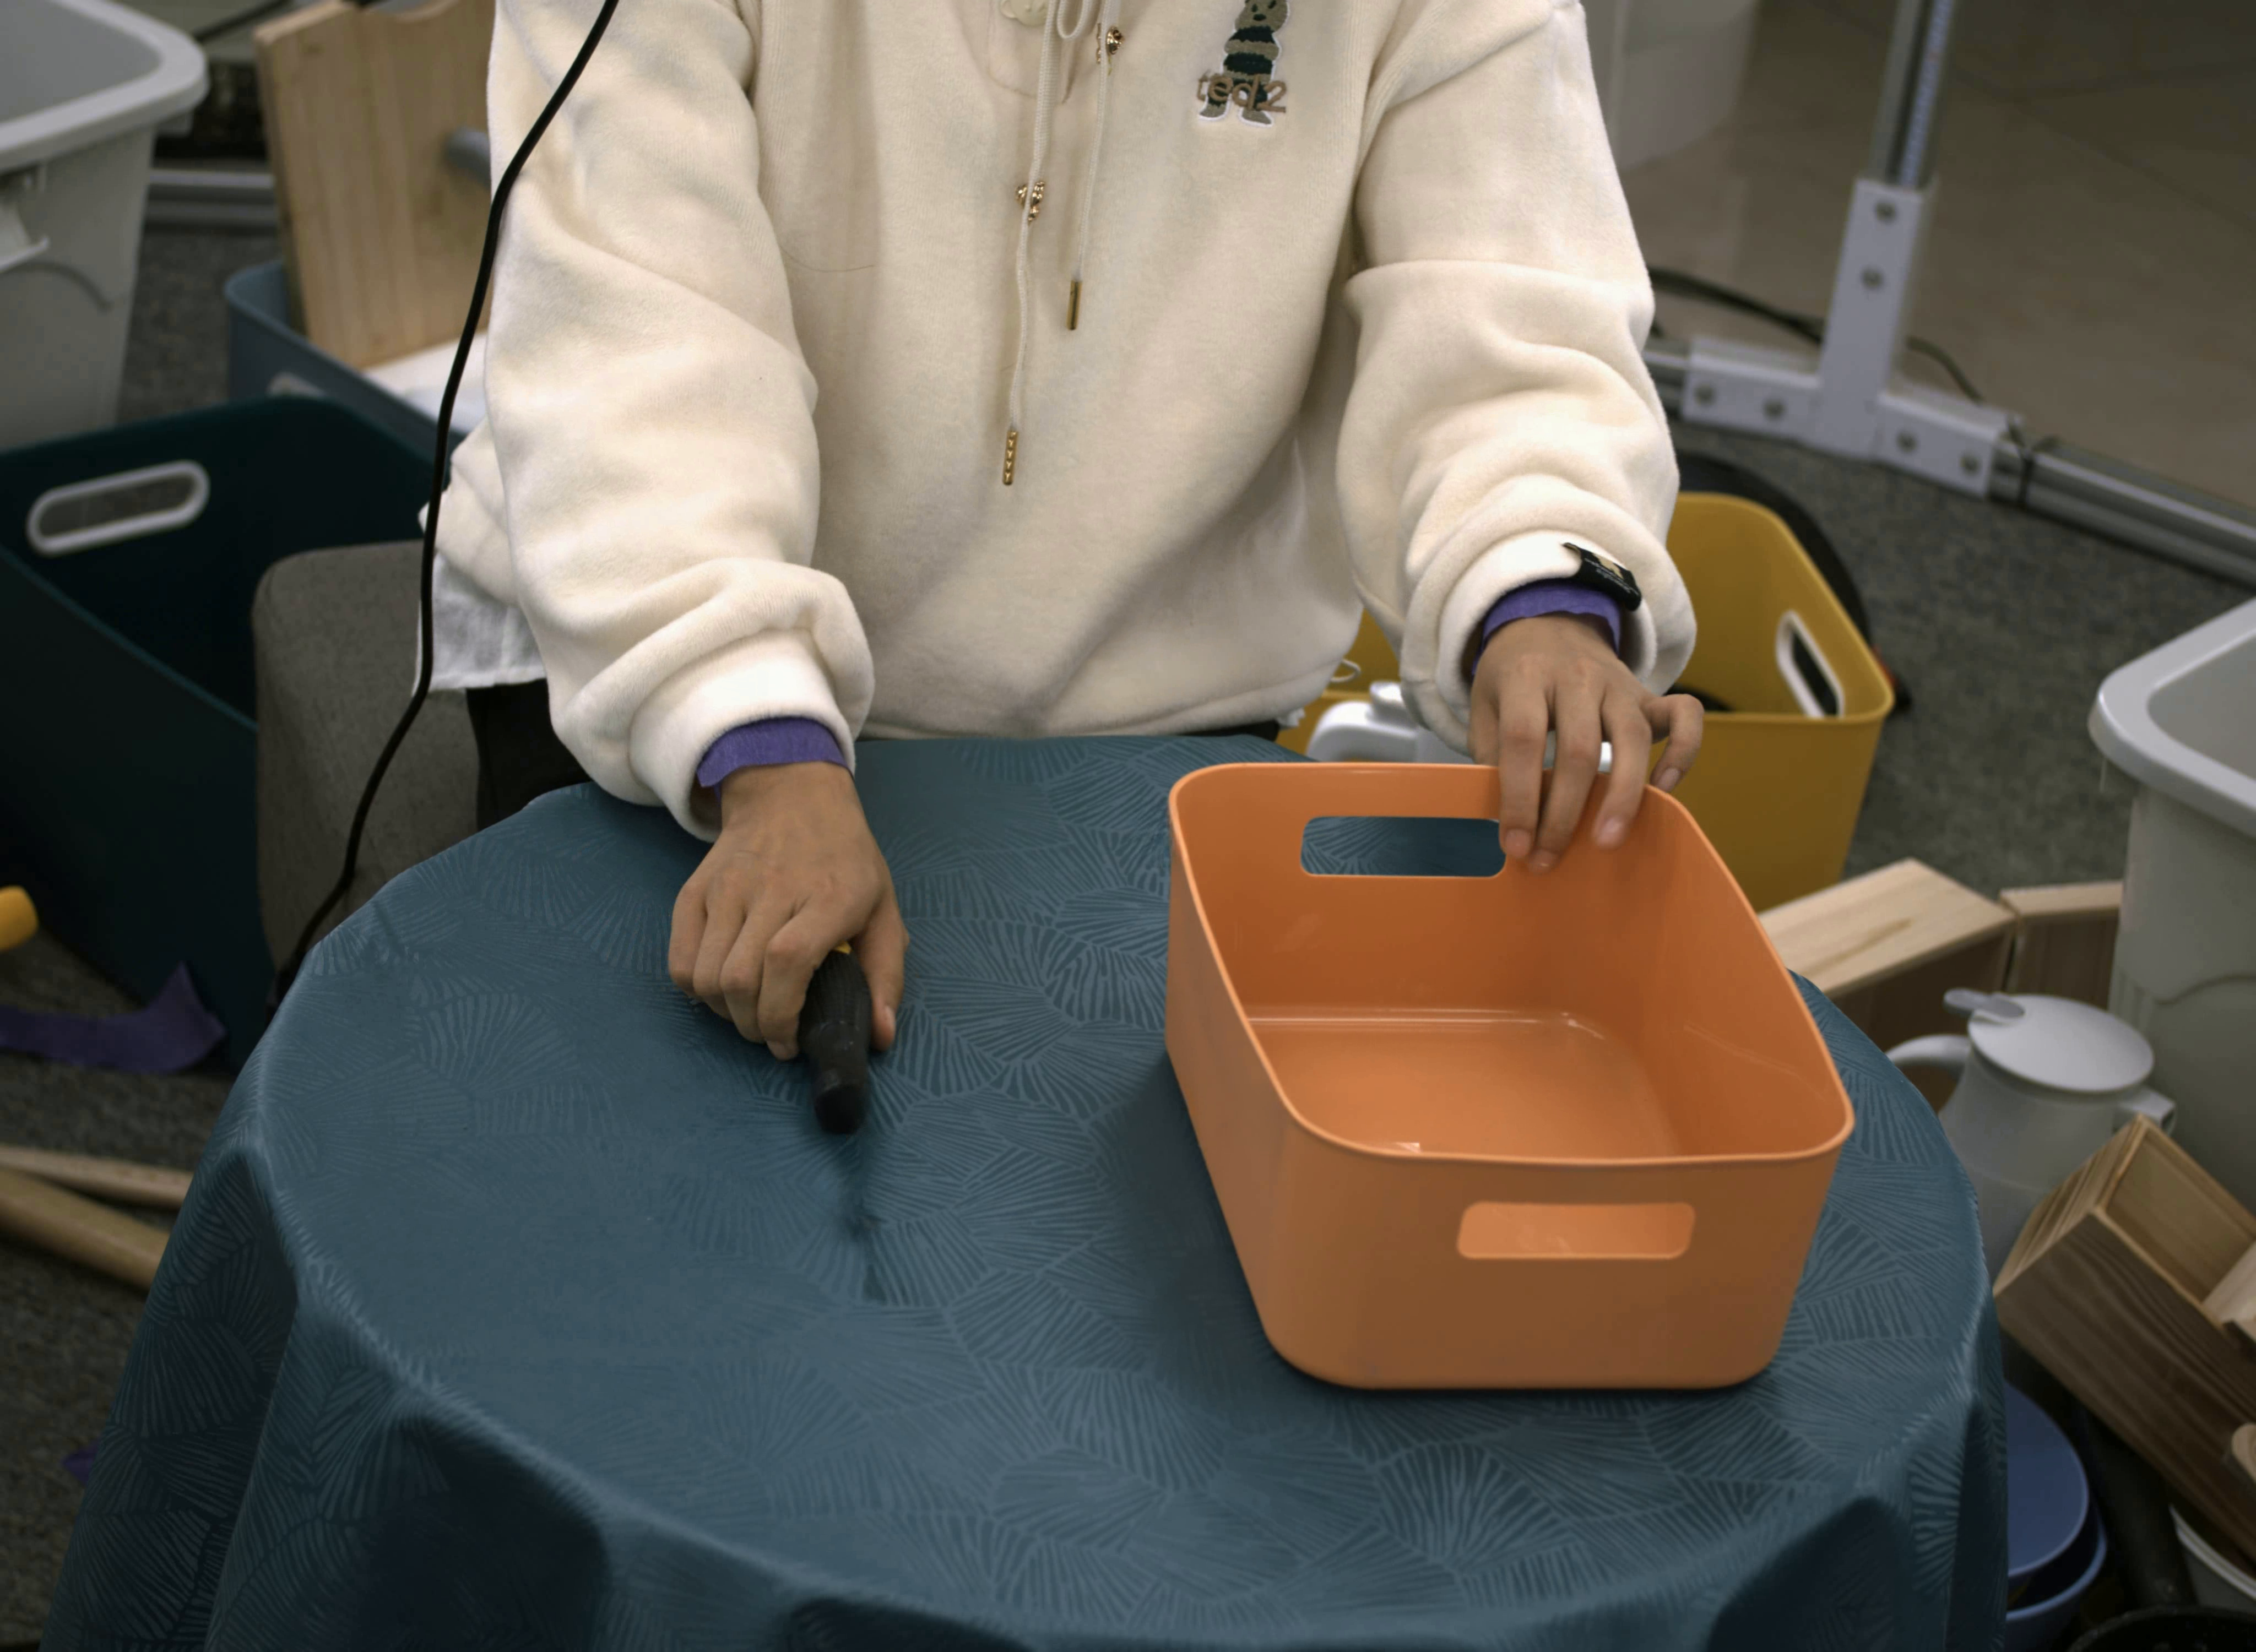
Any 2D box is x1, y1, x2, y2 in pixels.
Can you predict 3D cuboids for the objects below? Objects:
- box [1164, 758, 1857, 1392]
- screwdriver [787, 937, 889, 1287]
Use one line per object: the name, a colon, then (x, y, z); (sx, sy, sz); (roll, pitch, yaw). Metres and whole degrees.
box: (0.119, 0.084, 1.793); (0.198, 0.102, 0.275); (0, 28, -11)
screwdriver: (-0.098, 0.098, 1.808); (0.031, 0.031, 0.199); (3, 30, -8)
